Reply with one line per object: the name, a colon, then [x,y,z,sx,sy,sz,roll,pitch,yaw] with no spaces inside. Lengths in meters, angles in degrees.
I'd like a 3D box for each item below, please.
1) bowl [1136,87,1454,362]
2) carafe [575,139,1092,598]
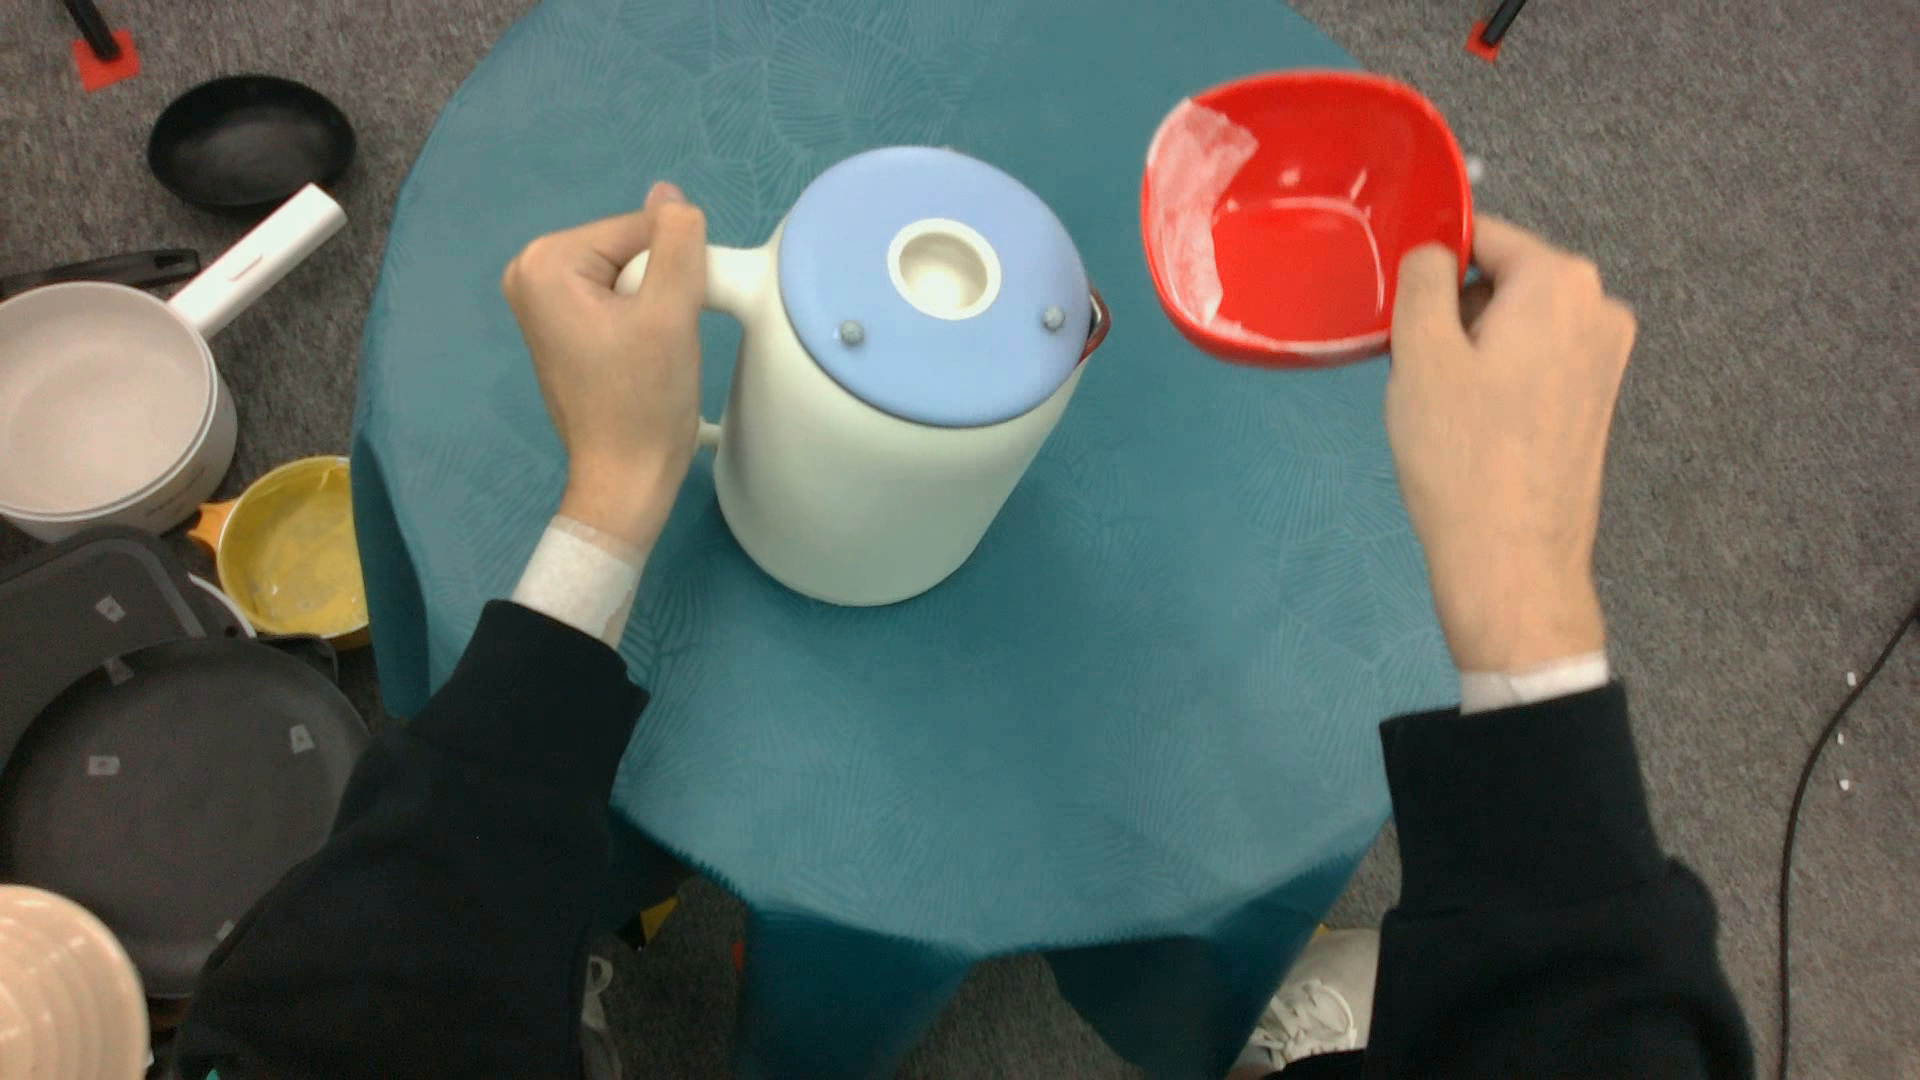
bowl: [0.116,-0.107,0.502,0.119,0.051,0.119,0,62,-1]
carafe: [-0.061,-0.067,0.570,0.191,0.181,0.132,6,63,-12]
